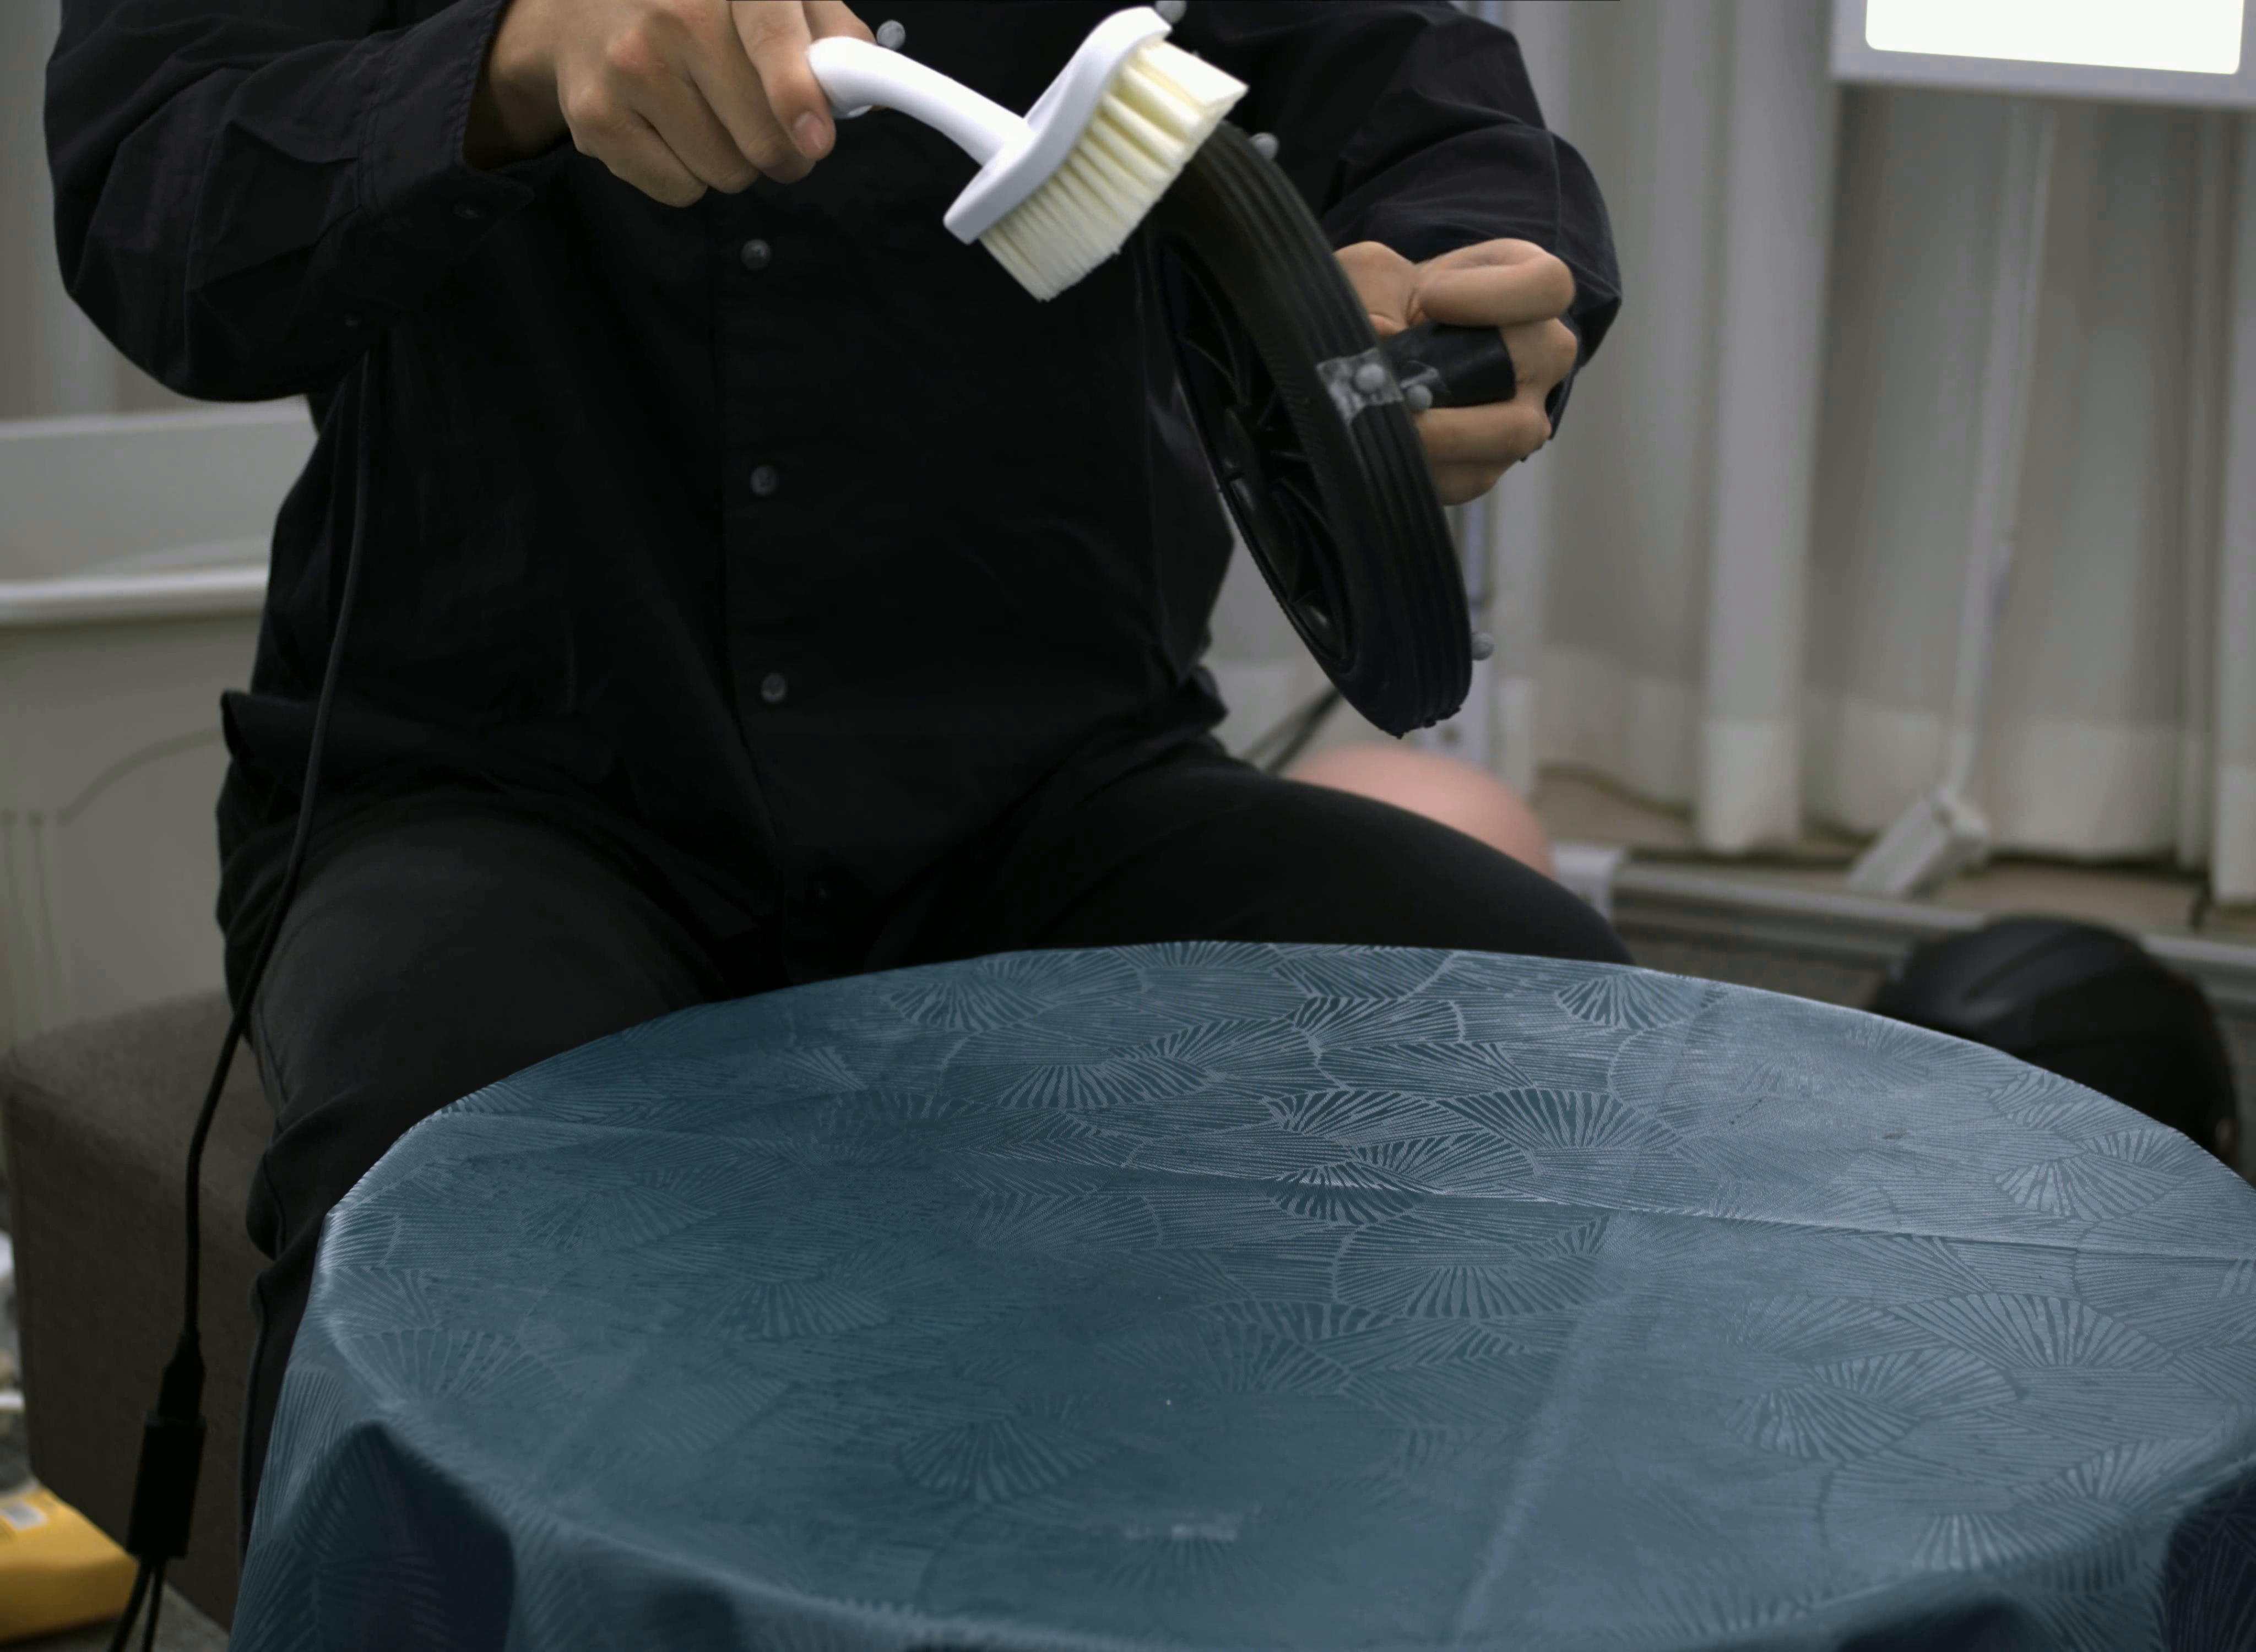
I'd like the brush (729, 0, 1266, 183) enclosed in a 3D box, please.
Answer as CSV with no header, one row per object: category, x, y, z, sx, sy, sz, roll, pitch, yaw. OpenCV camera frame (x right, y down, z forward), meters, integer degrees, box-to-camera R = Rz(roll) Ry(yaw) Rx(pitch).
brush,-0.029,-0.236,1.597,0.083,0.085,0.322,-17,10,-23

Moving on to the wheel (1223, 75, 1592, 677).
wheel,0.096,-0.143,1.575,0.079,0.190,0.187,-25,31,-9
